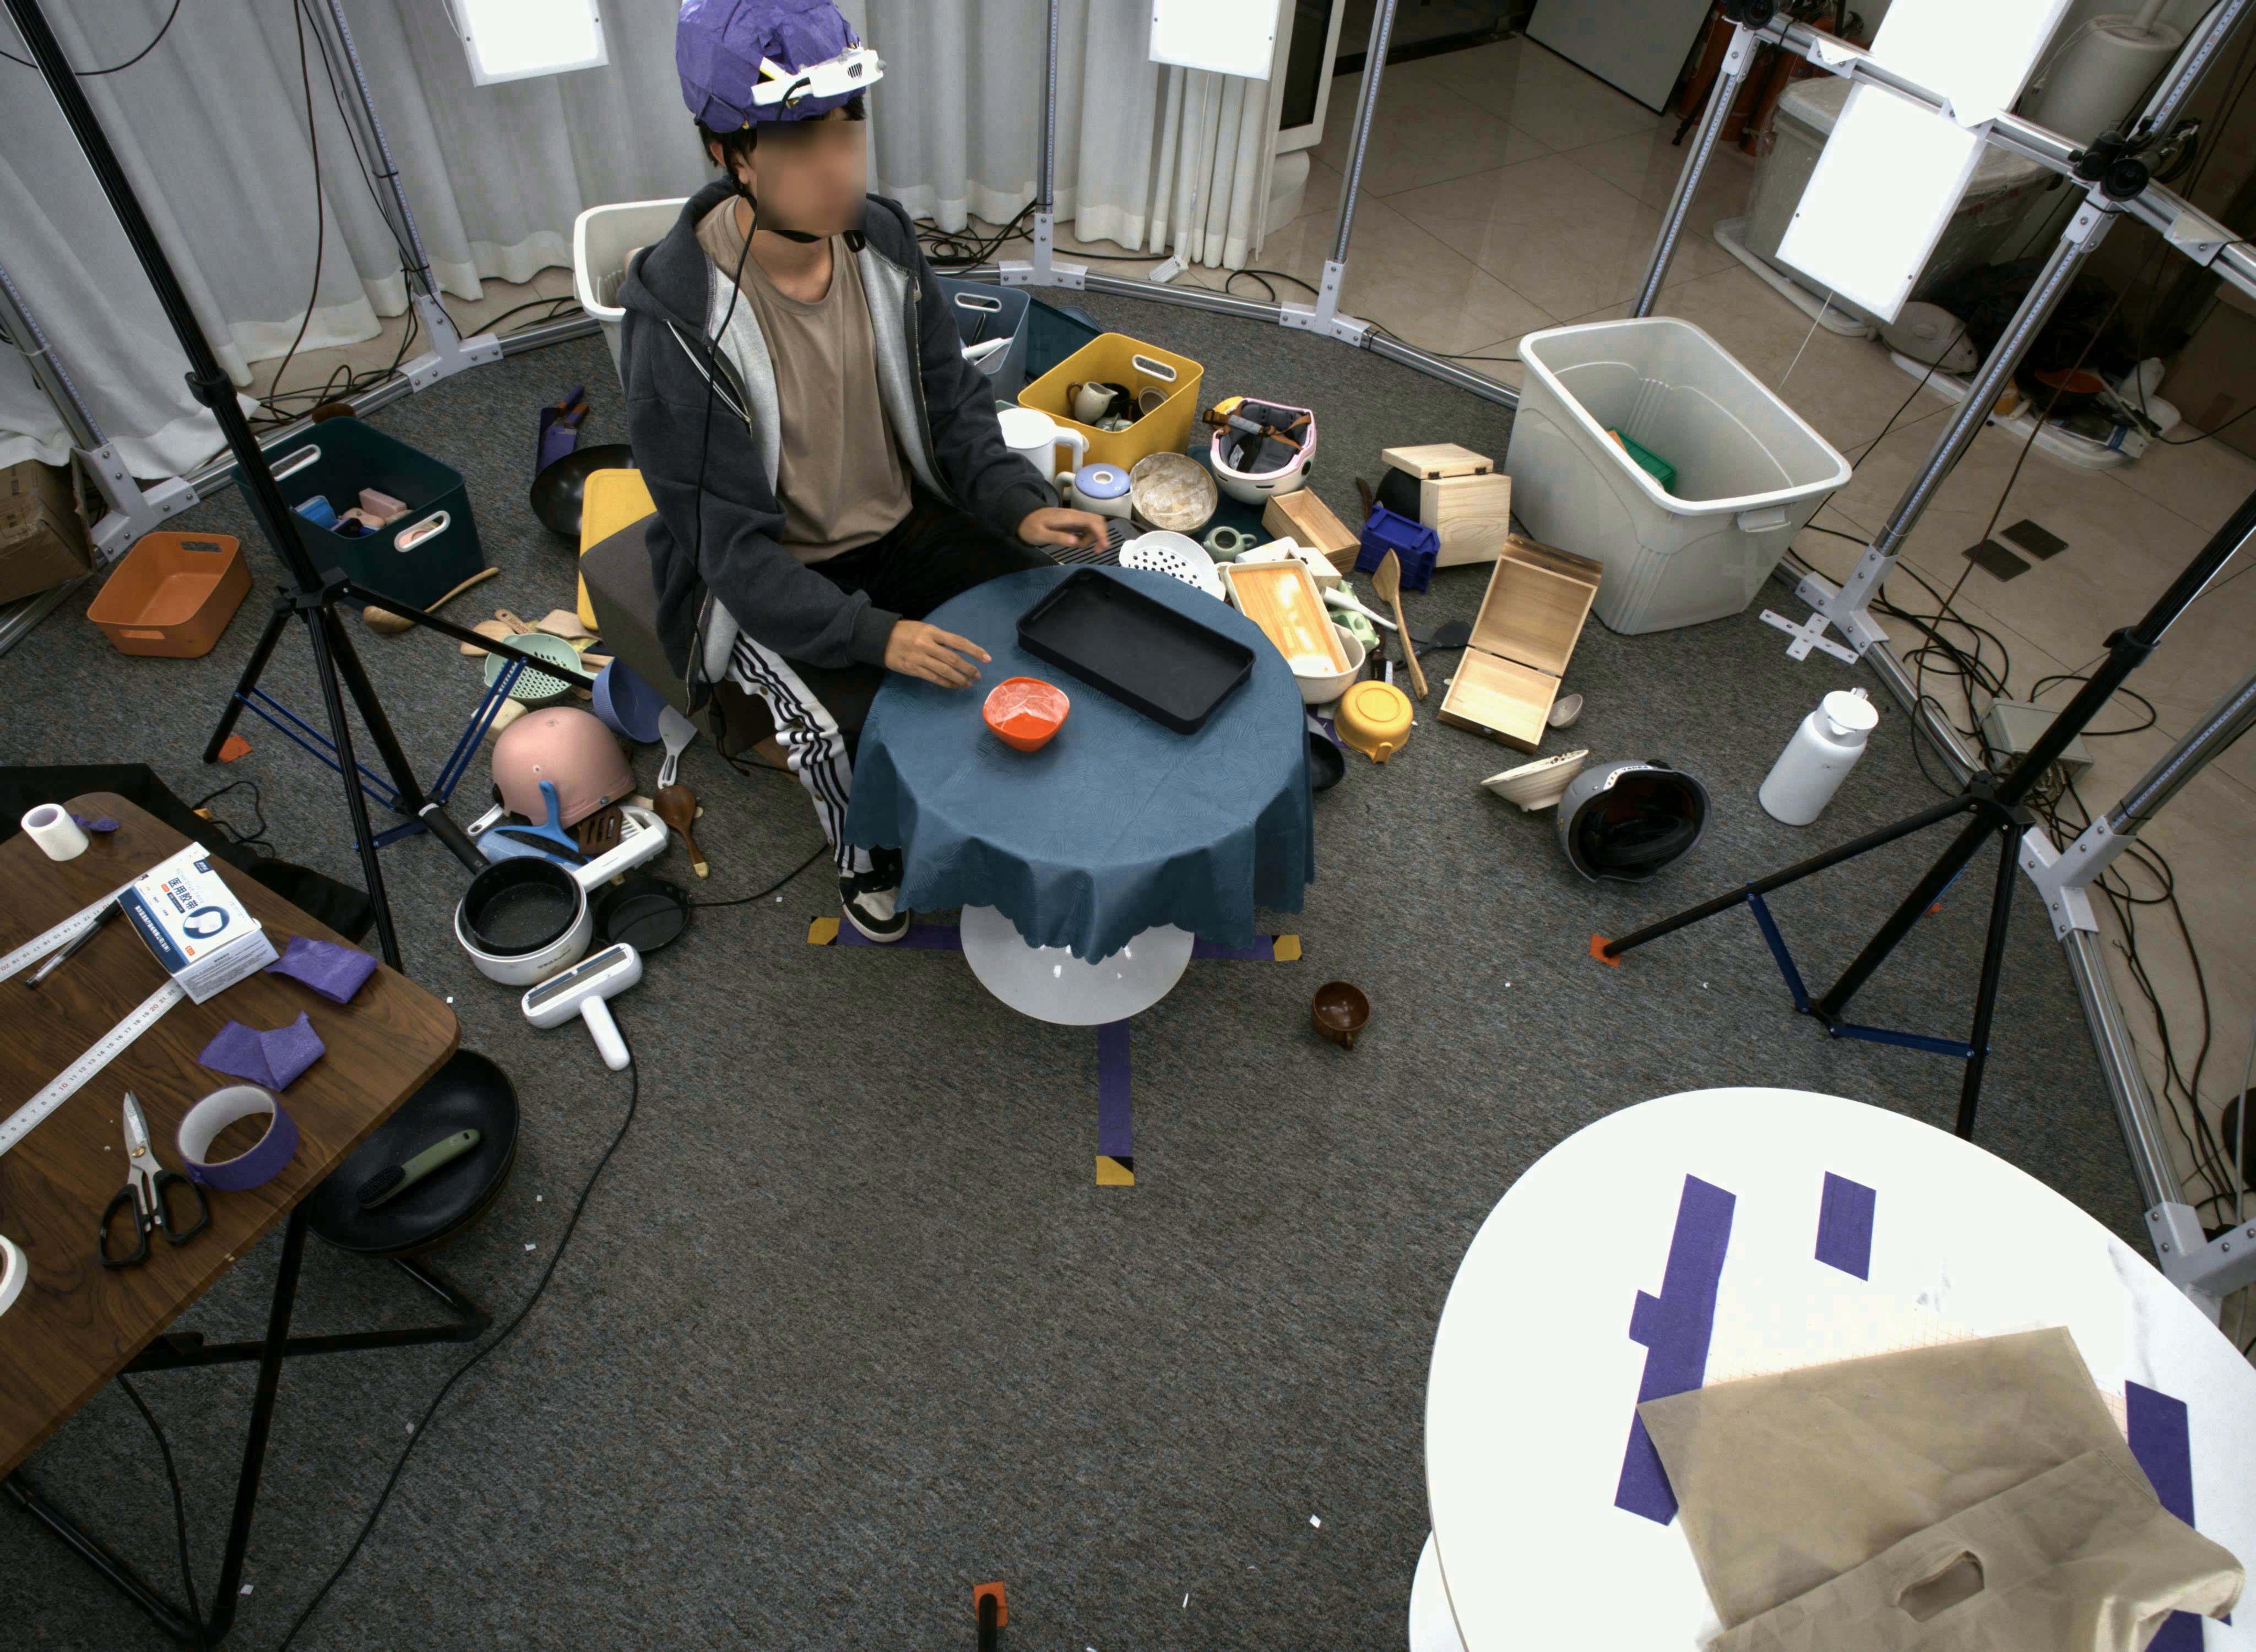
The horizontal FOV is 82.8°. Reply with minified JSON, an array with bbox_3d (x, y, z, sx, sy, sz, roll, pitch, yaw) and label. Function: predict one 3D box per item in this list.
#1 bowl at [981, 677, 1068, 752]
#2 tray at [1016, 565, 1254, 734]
[{"bbox_3d":[-0.140,-0.145,1.748,0.119,0.050,0.122,2,49,-3],"label":"bowl"},{"bbox_3d":[0.009,-0.260,1.868,0.321,0.036,0.187,30,54,20],"label":"tray"}]
